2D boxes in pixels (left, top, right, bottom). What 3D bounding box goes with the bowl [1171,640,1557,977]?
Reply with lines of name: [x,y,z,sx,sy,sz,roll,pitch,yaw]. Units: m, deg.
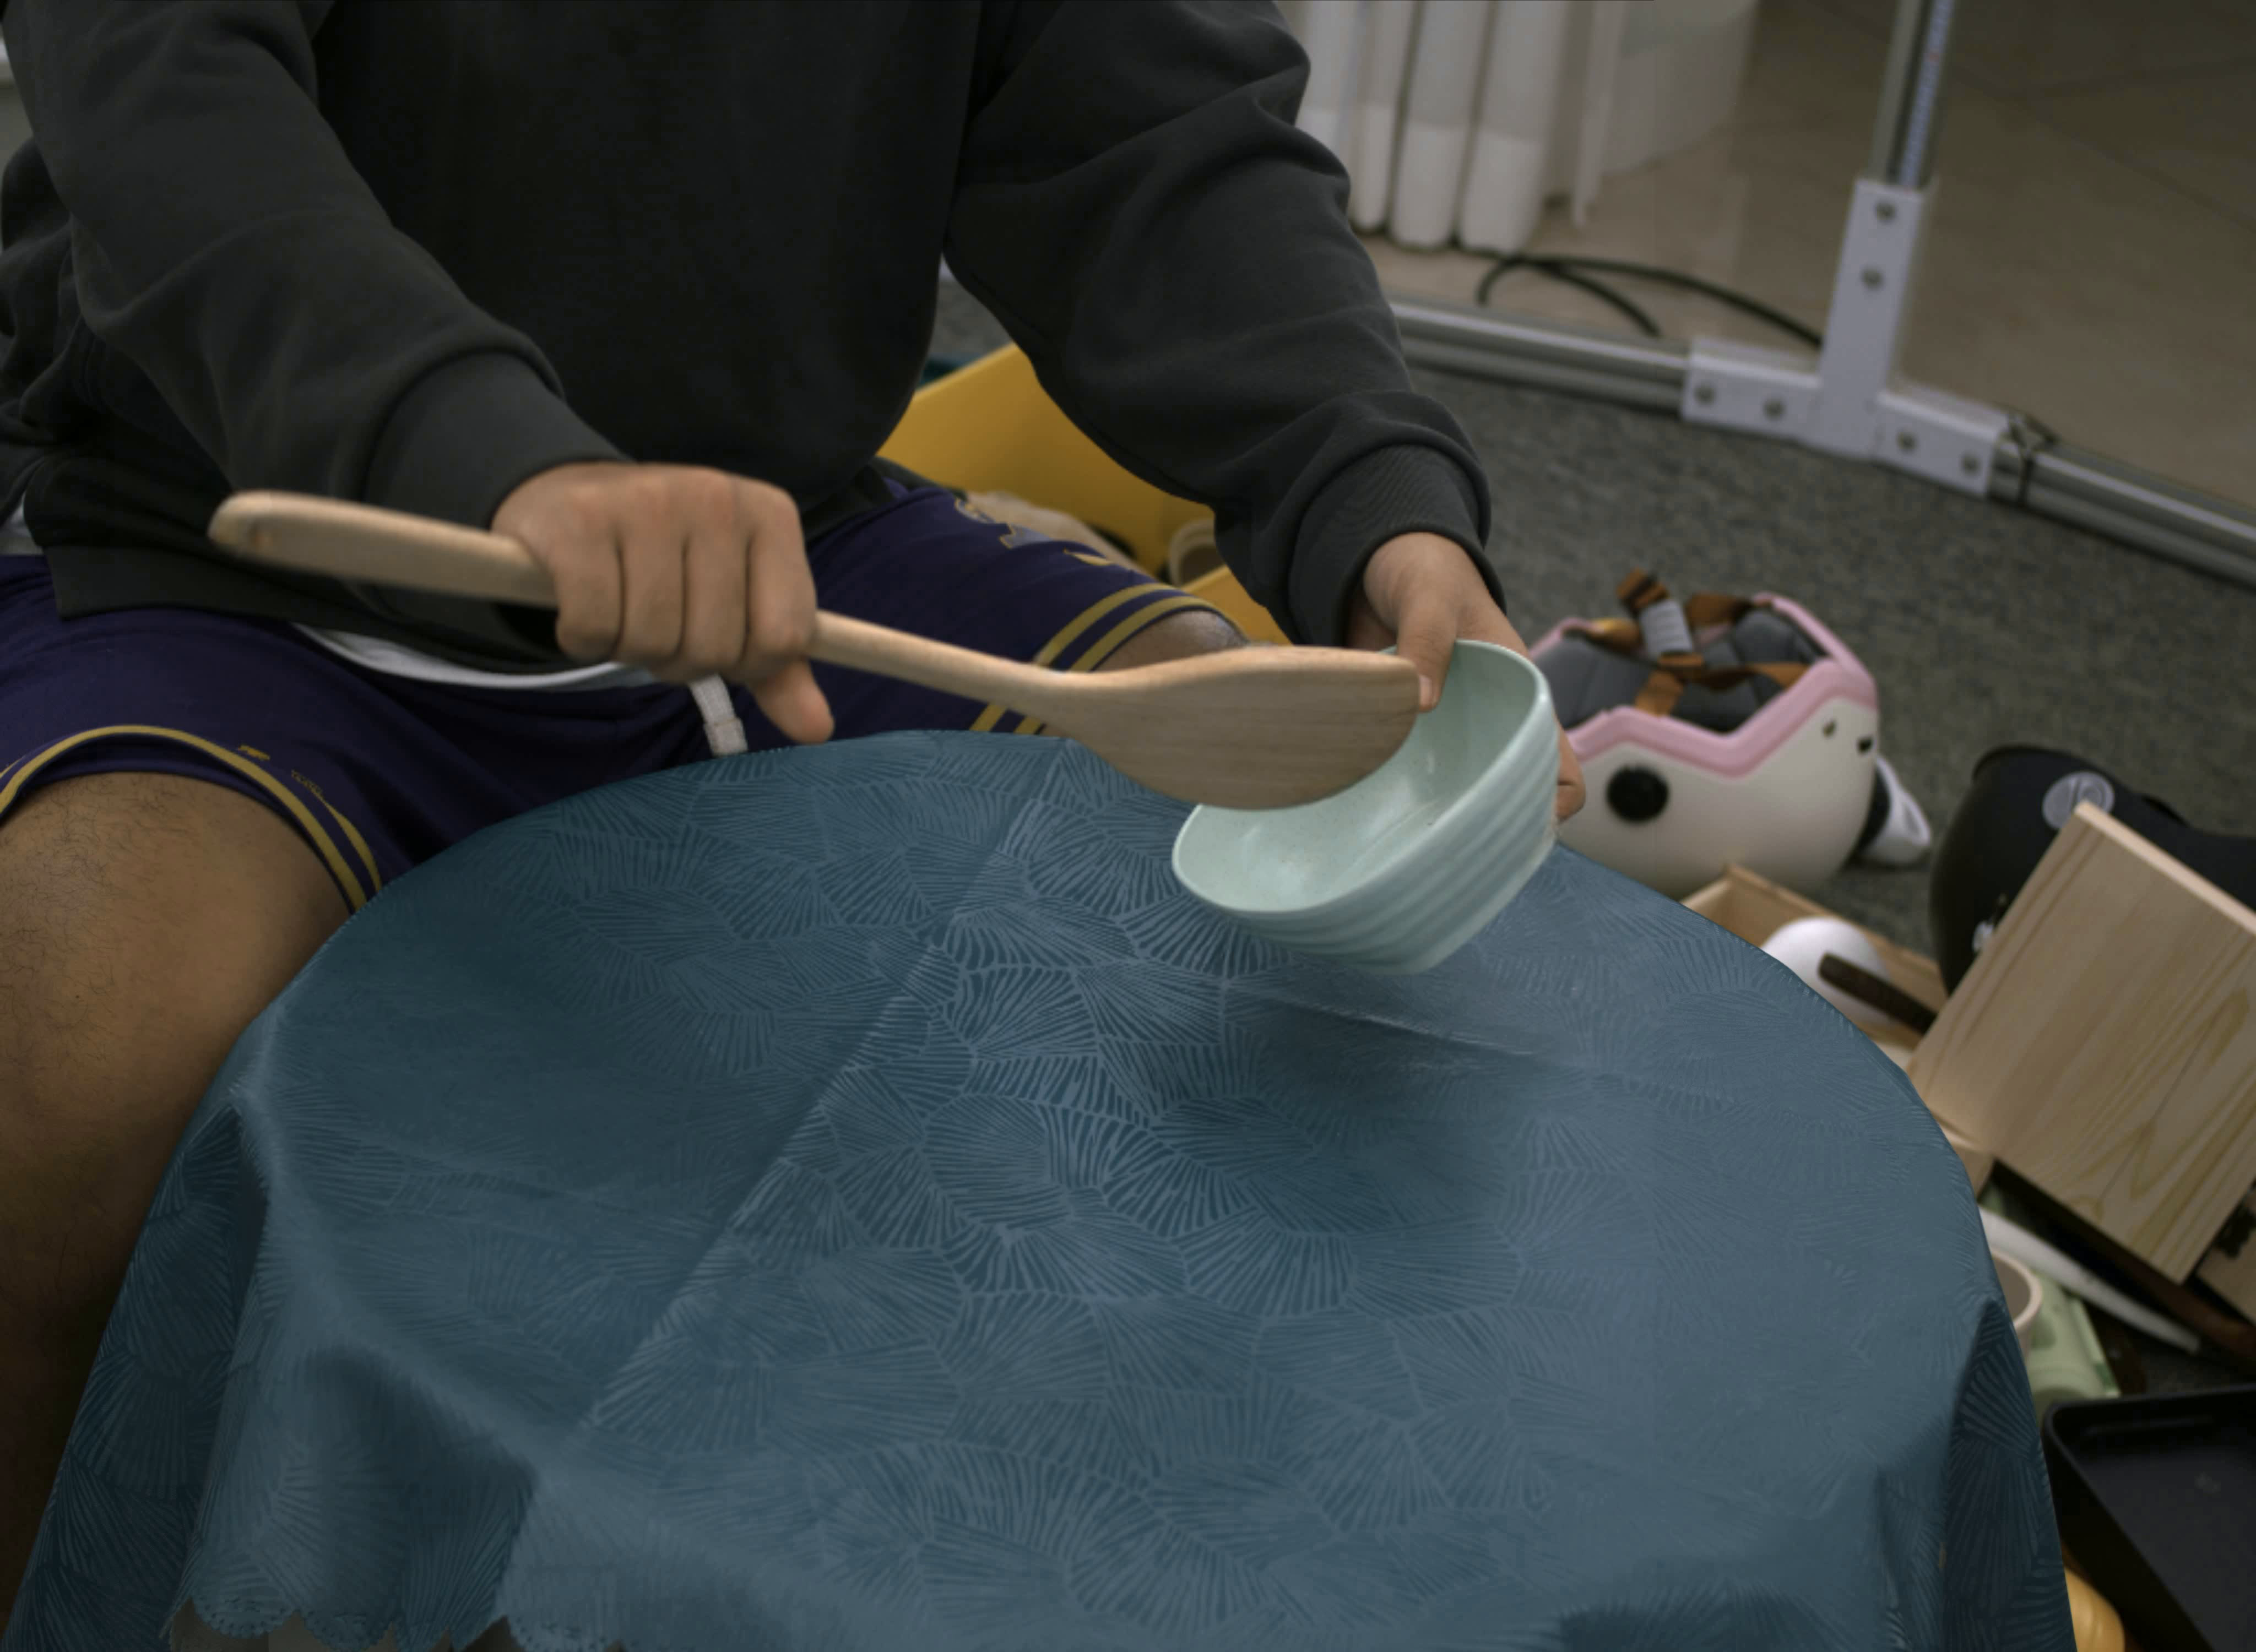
bowl: [0.093,0.002,1.869,0.151,0.058,0.152,-29,26,15]

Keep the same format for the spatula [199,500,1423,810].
spatula: [-0.096,-0.061,1.667,0.388,0.095,0.018,11,53,-12]
